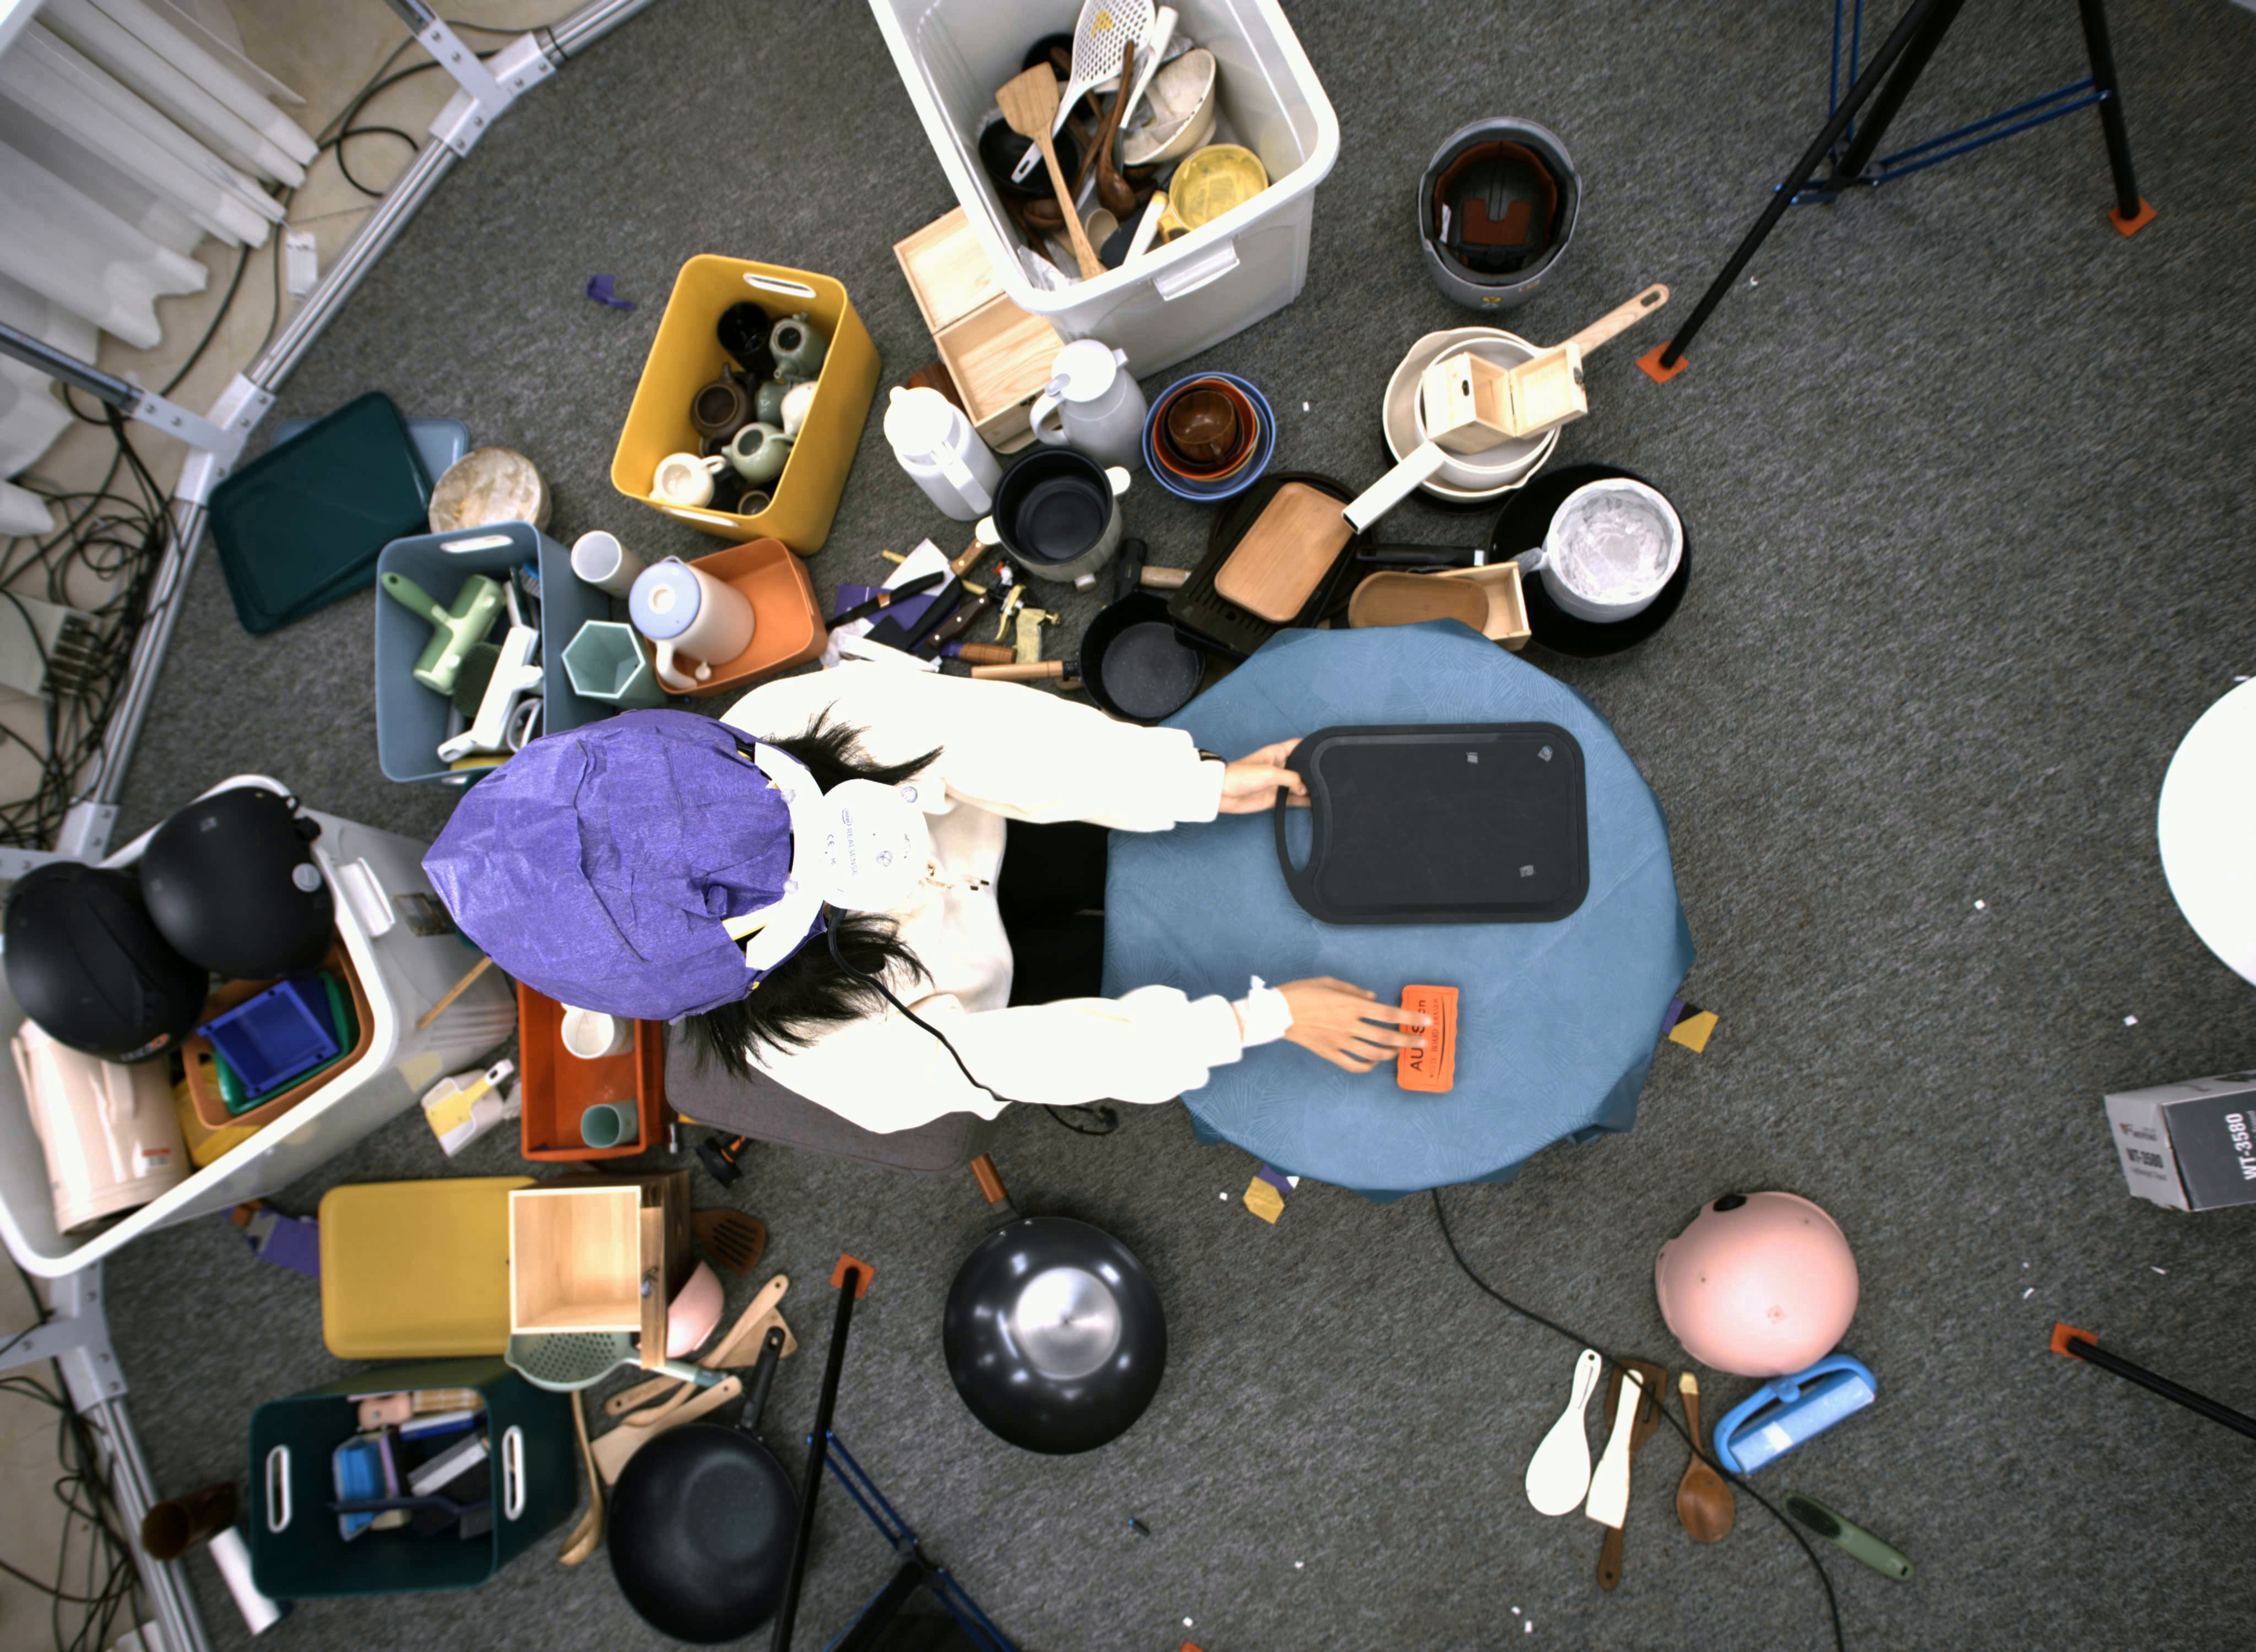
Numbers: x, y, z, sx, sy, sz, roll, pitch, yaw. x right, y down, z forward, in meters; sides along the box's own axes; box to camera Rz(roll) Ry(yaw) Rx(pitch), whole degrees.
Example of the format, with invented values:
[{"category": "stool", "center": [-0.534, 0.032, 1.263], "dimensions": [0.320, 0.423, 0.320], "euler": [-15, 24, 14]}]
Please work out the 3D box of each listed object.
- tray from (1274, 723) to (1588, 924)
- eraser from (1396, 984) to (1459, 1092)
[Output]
[{"category": "tray", "center": [0.316, -0.004, 1.440], "dimensions": [0.326, 0.010, 0.210], "euler": [-1, 88, 6]}, {"category": "eraser", "center": [0.311, 0.218, 1.433], "dimensions": [0.059, 0.023, 0.107], "euler": [4, 87, 13]}]
